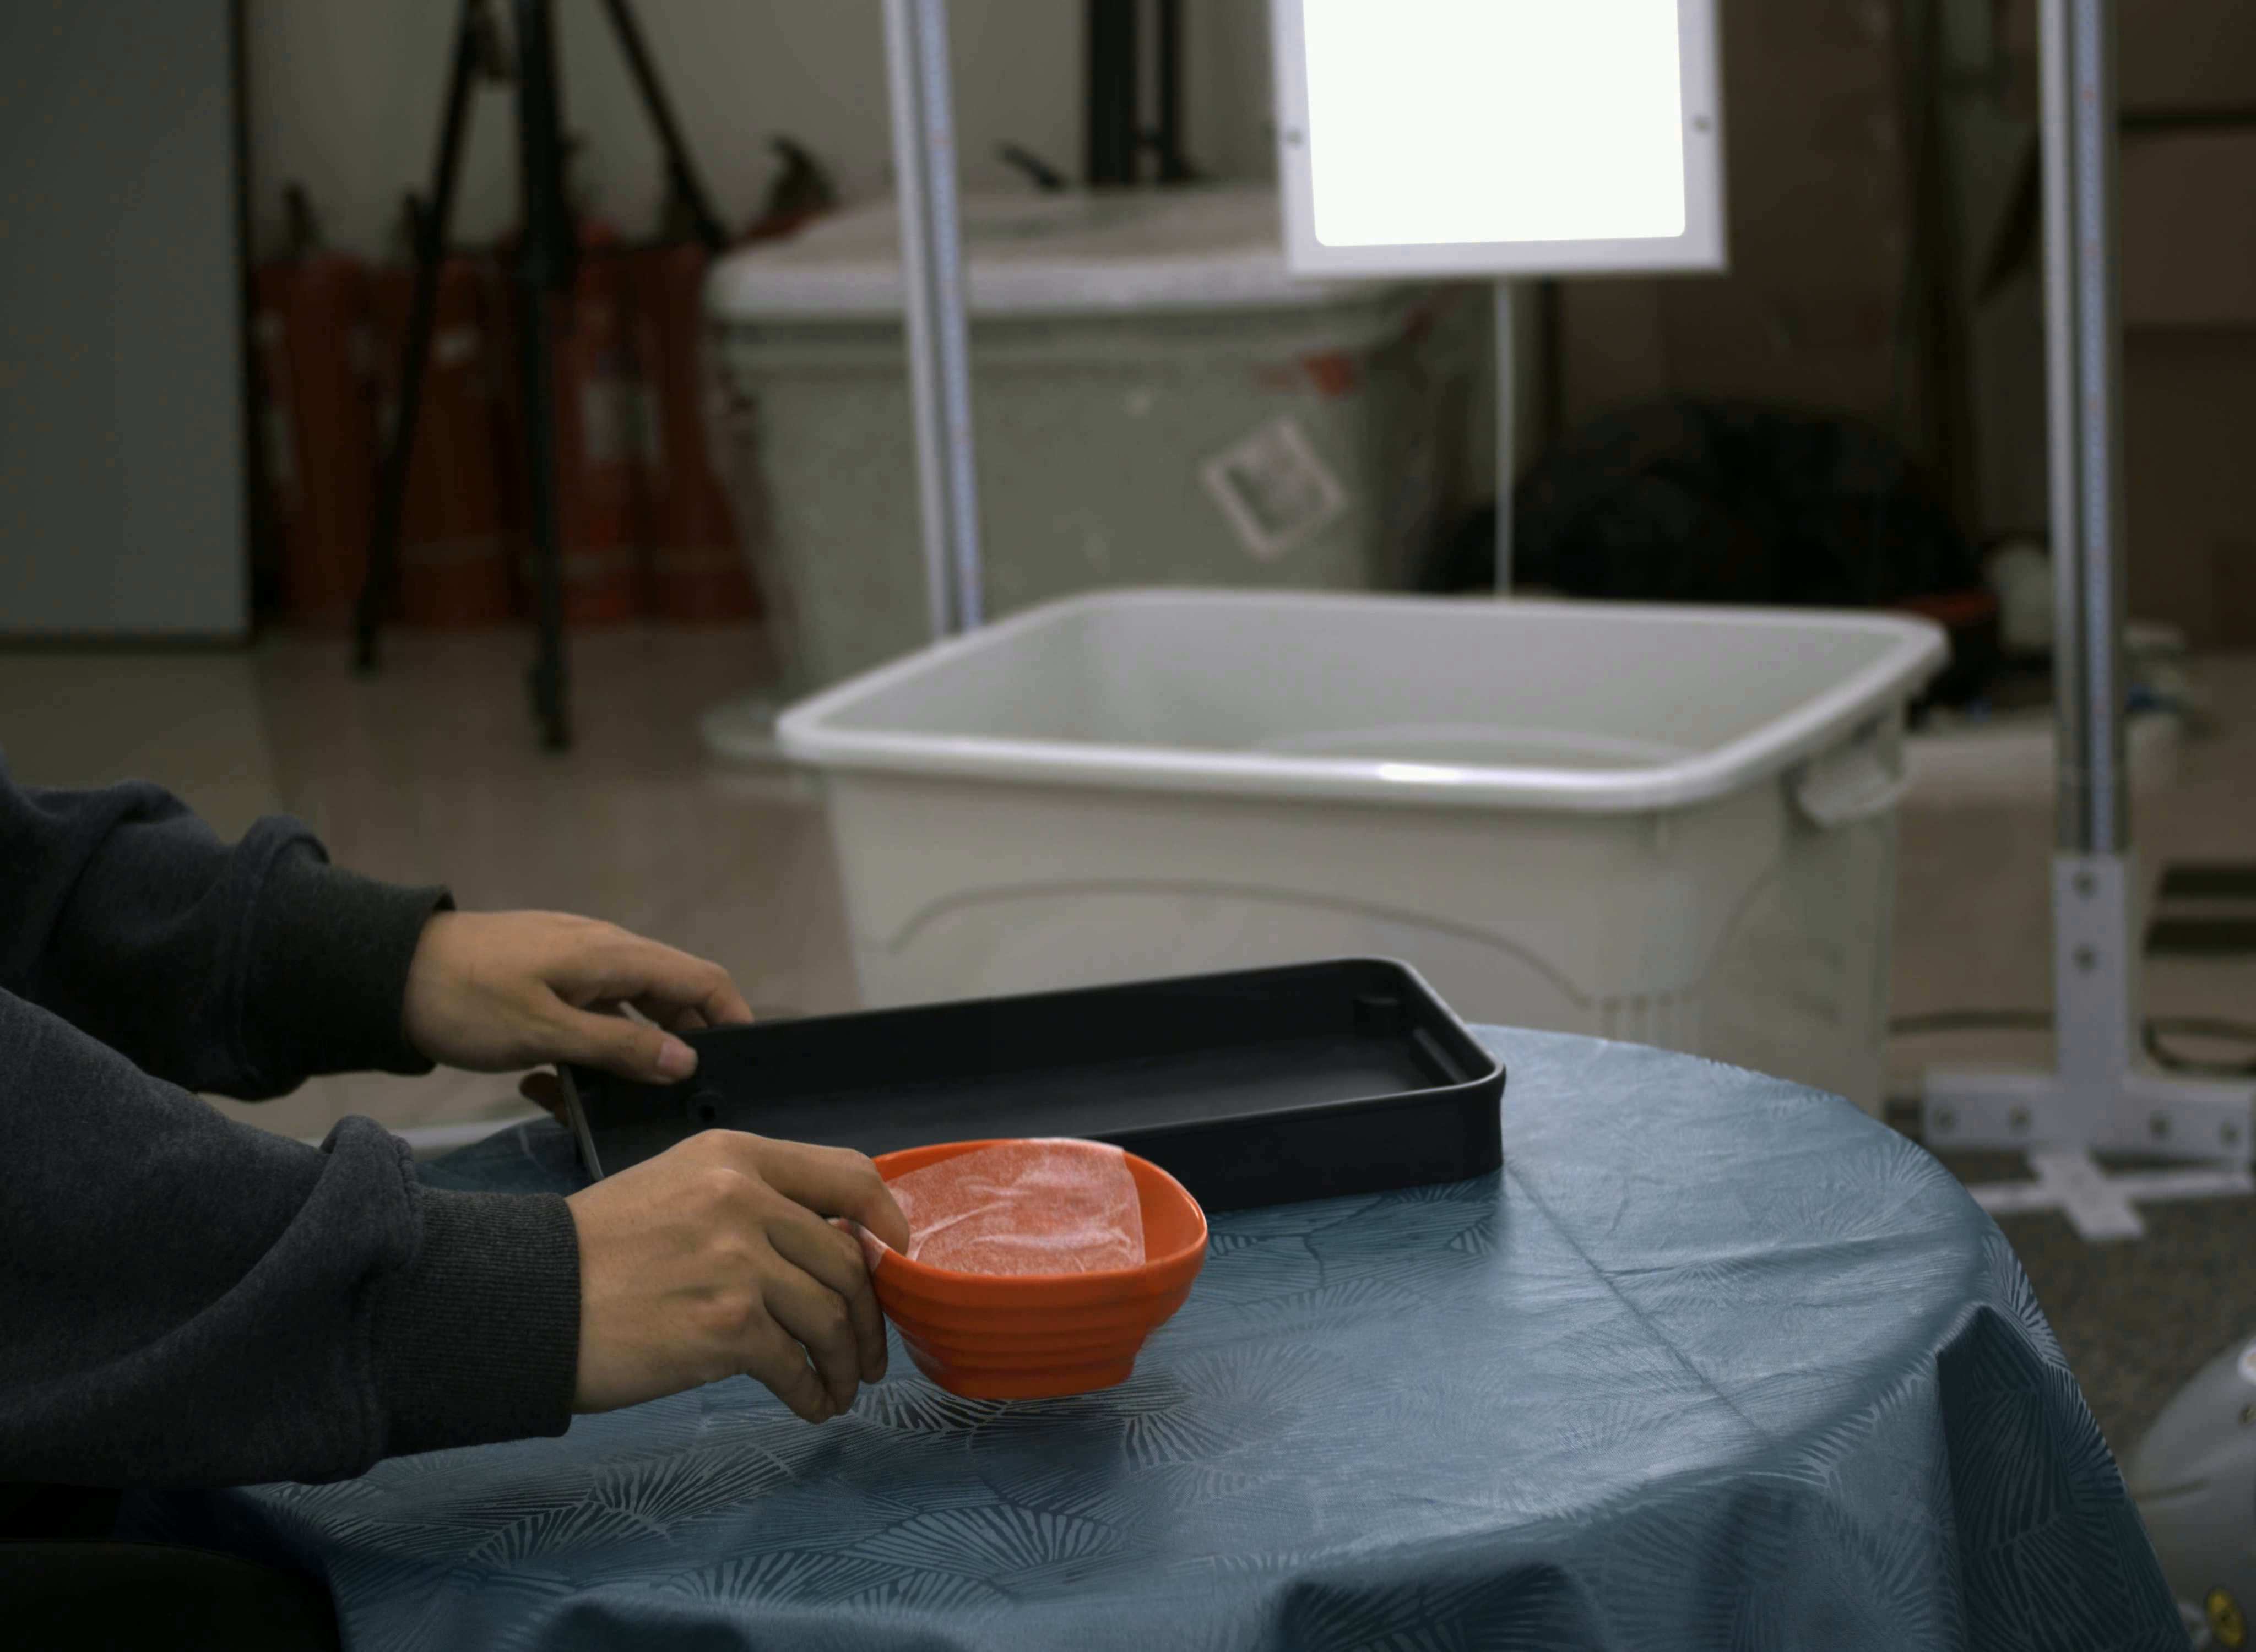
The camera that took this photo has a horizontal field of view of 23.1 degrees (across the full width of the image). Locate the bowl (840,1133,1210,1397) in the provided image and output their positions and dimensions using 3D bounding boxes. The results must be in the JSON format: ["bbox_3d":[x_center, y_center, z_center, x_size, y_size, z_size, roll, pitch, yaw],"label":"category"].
[{"bbox_3d":[-0.033,0.138,1.691,0.118,0.052,0.119,4,19,-3],"label":"bowl"}]

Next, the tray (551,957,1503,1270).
[{"bbox_3d":[-0.038,0.098,1.940,0.315,0.037,0.185,-6,14,-8],"label":"tray"}]
